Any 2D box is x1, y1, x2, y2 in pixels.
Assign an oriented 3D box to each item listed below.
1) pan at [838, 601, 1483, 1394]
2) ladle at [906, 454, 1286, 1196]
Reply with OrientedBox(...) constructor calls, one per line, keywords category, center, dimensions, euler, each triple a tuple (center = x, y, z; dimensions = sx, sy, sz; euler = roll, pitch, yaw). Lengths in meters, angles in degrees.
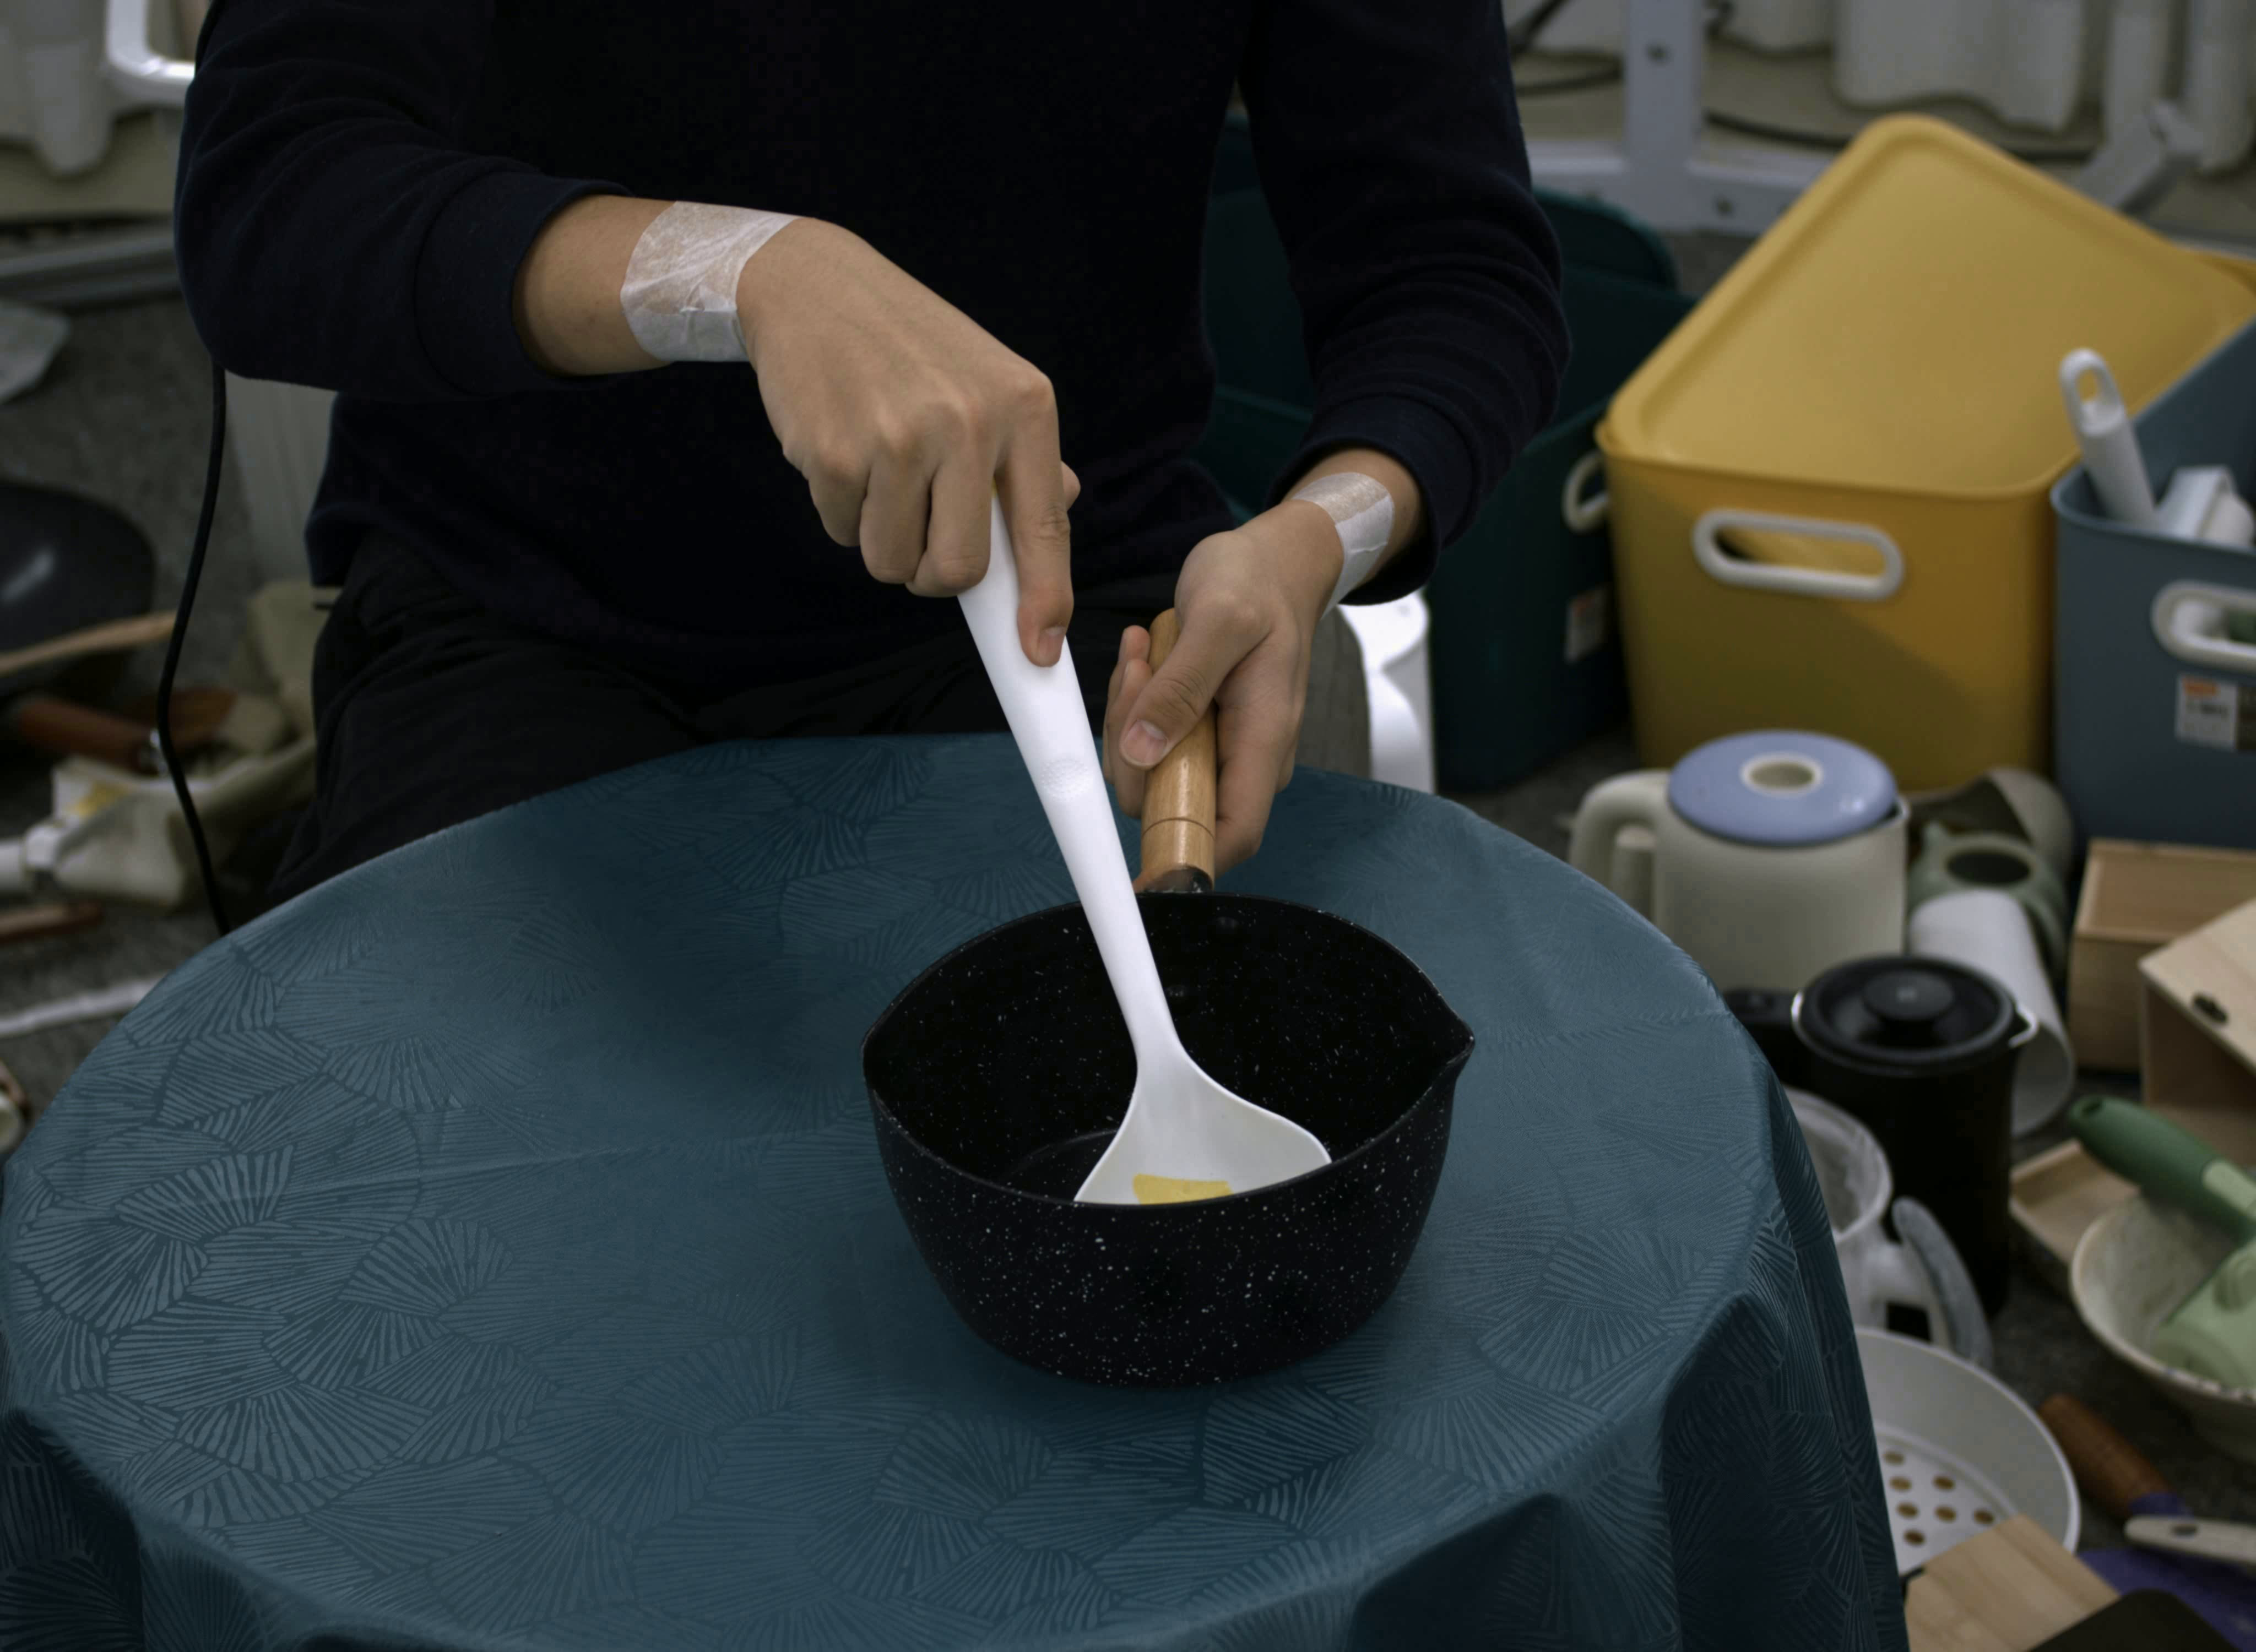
OrientedBox(category="pan", center=(0.013, 0.054, 1.864), dimensions=(0.206, 0.107, 0.348), euler=(-3, 31, 3))
OrientedBox(category="ladle", center=(-0.020, 0.018, 1.814), dimensions=(0.089, 0.295, 0.070), euler=(-20, -11, 12))
